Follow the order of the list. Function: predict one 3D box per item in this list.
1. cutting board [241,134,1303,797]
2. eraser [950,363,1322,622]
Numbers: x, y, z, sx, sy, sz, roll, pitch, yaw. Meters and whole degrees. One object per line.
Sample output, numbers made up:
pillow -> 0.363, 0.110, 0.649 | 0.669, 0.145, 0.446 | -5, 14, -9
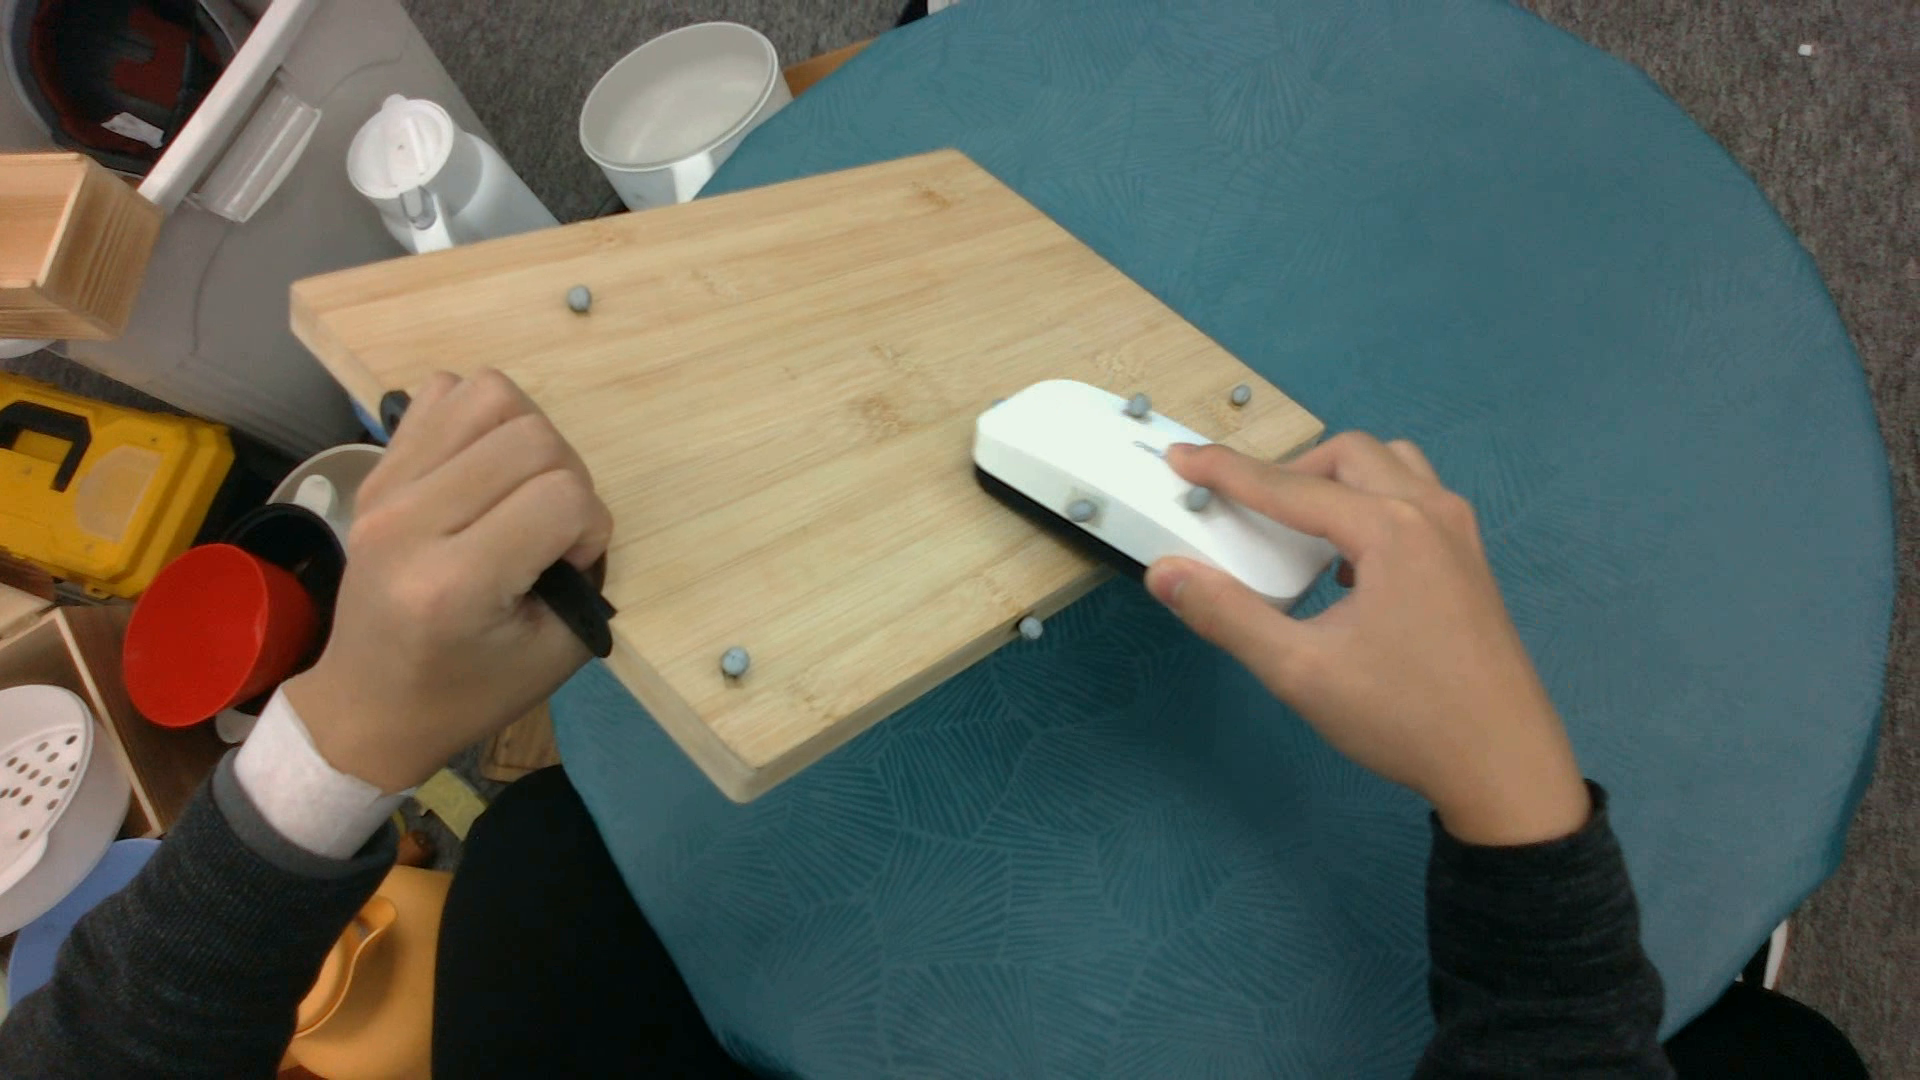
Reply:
cutting board -> -0.043, -0.065, 0.535 | 0.251, 0.023, 0.350 | 40, 42, 20
eraser -> 0.059, -0.021, 0.486 | 0.131, 0.034, 0.064 | 31, 40, 22
